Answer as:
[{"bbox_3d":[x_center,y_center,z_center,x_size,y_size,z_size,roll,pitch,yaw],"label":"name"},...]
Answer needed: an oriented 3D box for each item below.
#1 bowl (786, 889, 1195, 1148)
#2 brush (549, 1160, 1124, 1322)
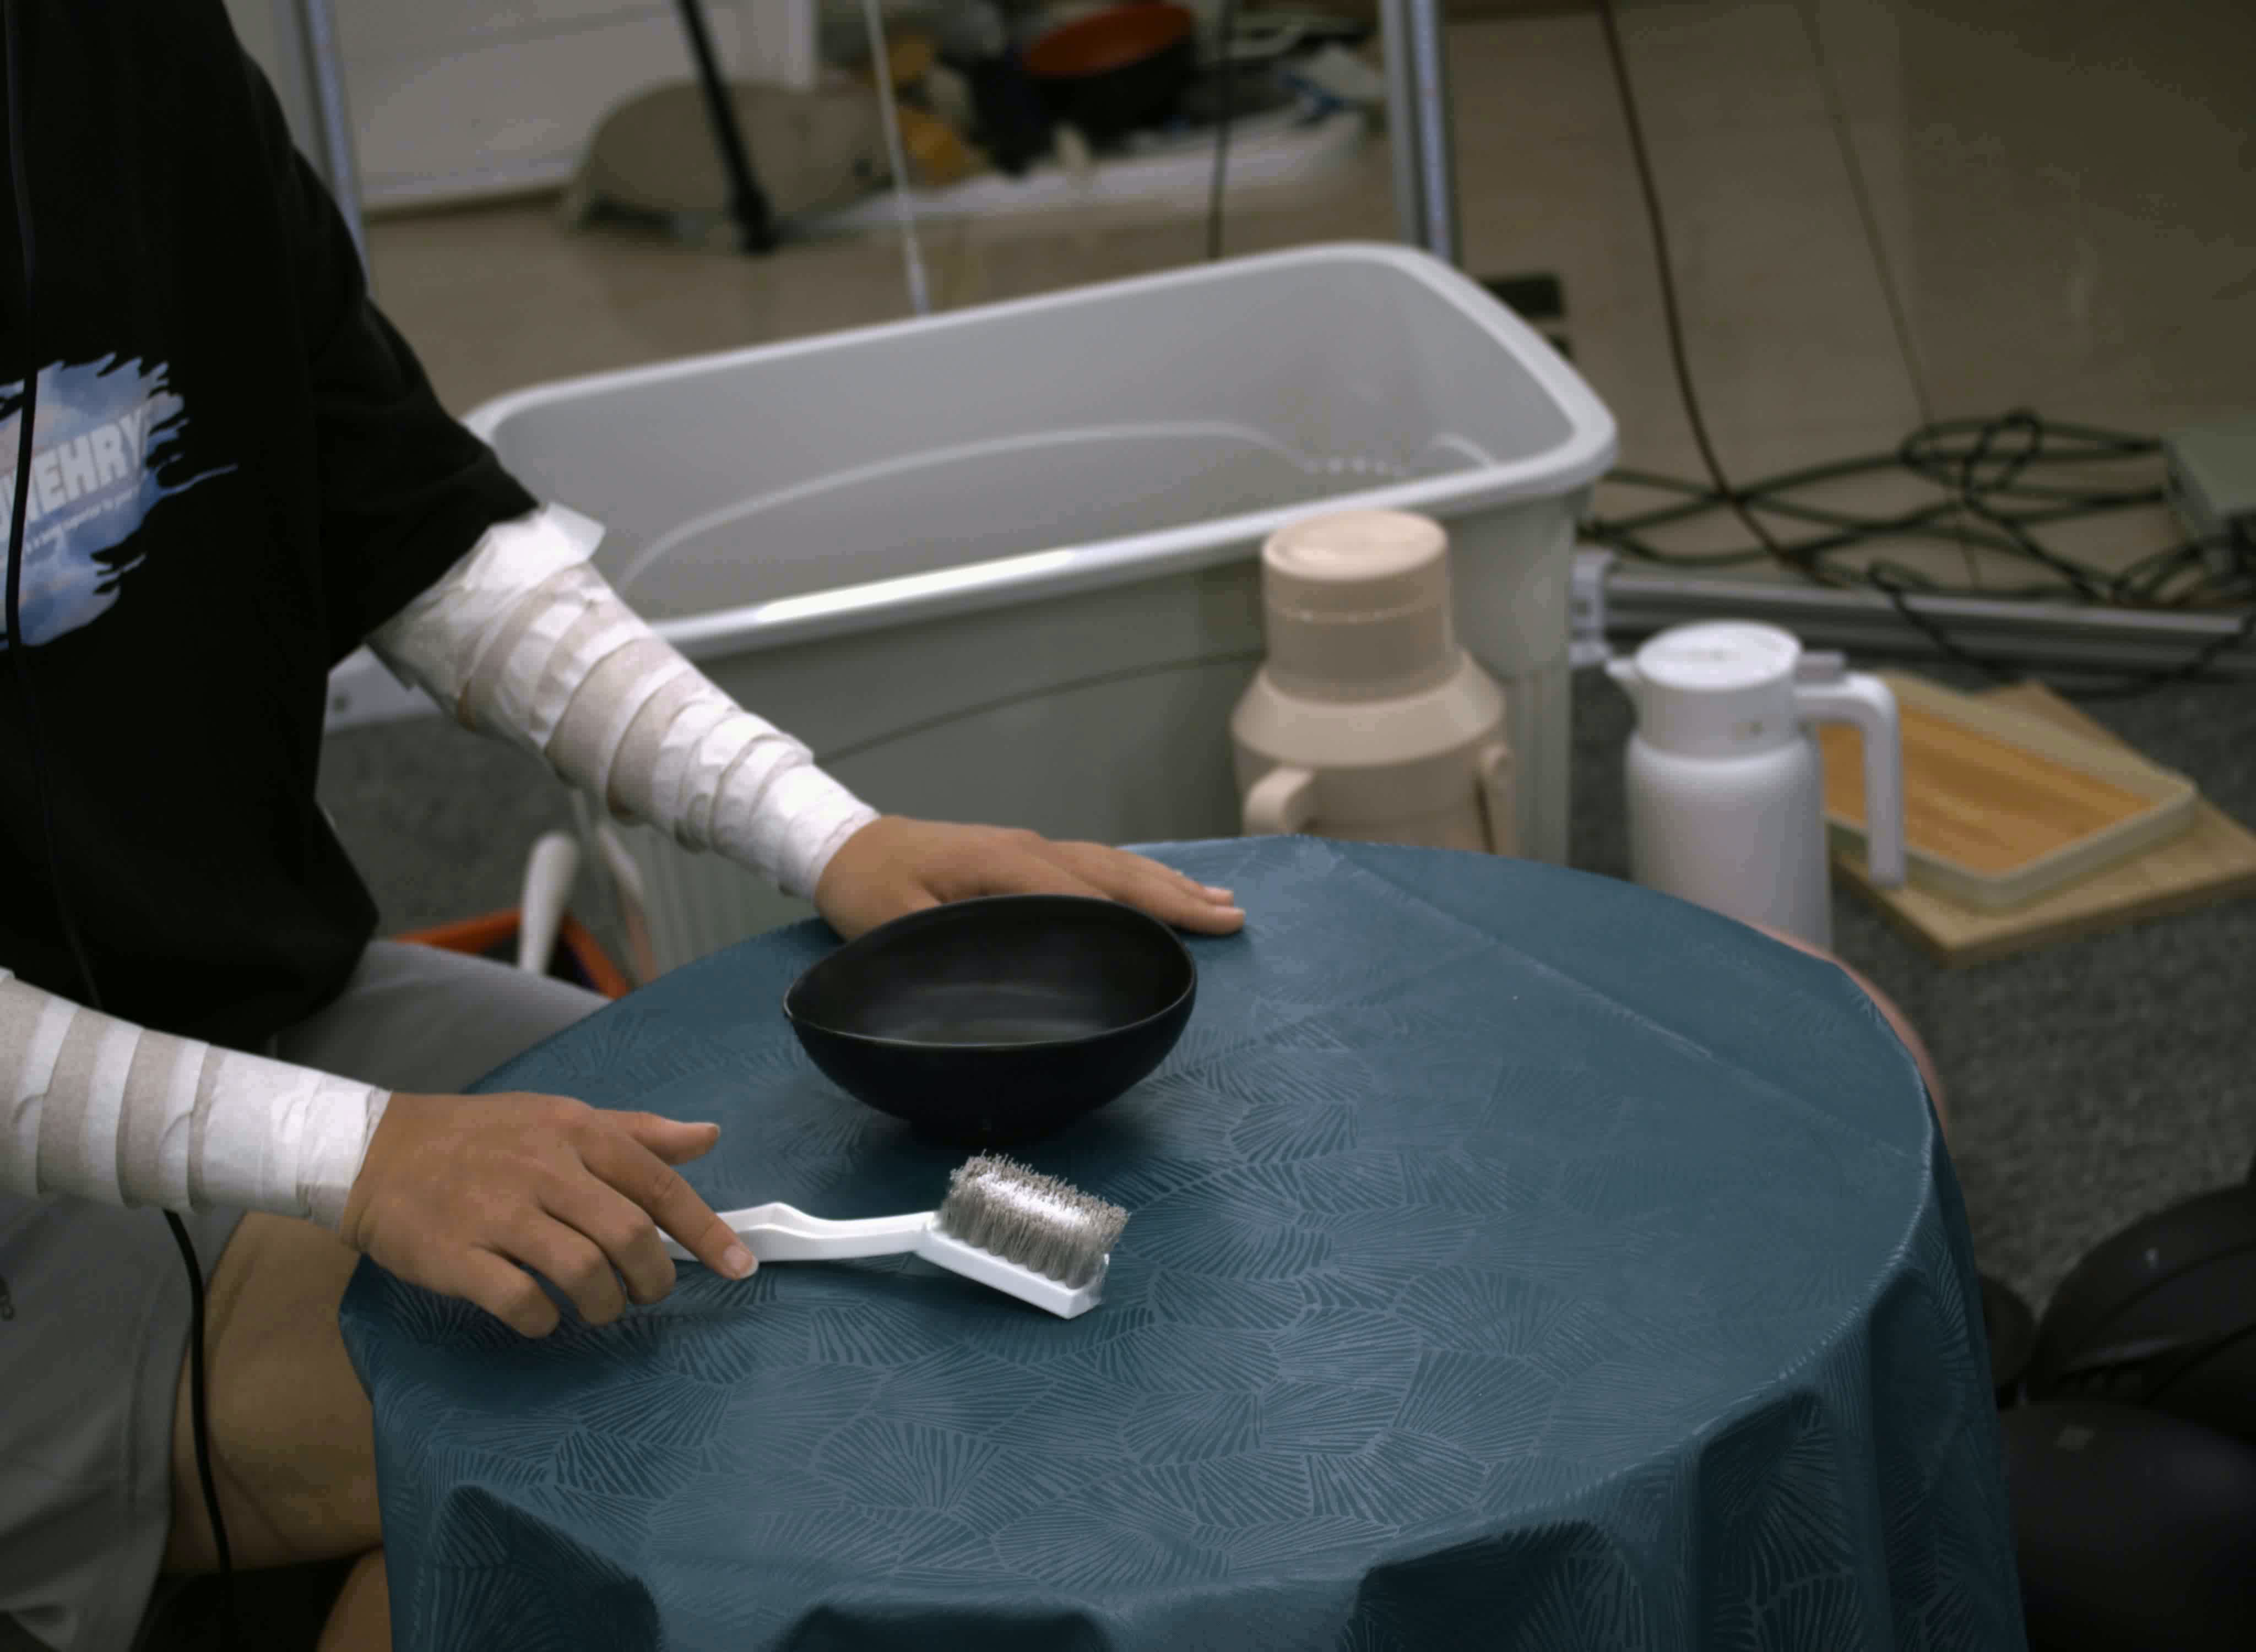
[{"bbox_3d":[-0.052,0.083,2.205,0.170,0.068,0.135,2,26,24],"label":"bowl"},{"bbox_3d":[-0.113,0.141,2.111,0.242,0.051,0.034,7,28,27],"label":"brush"}]
